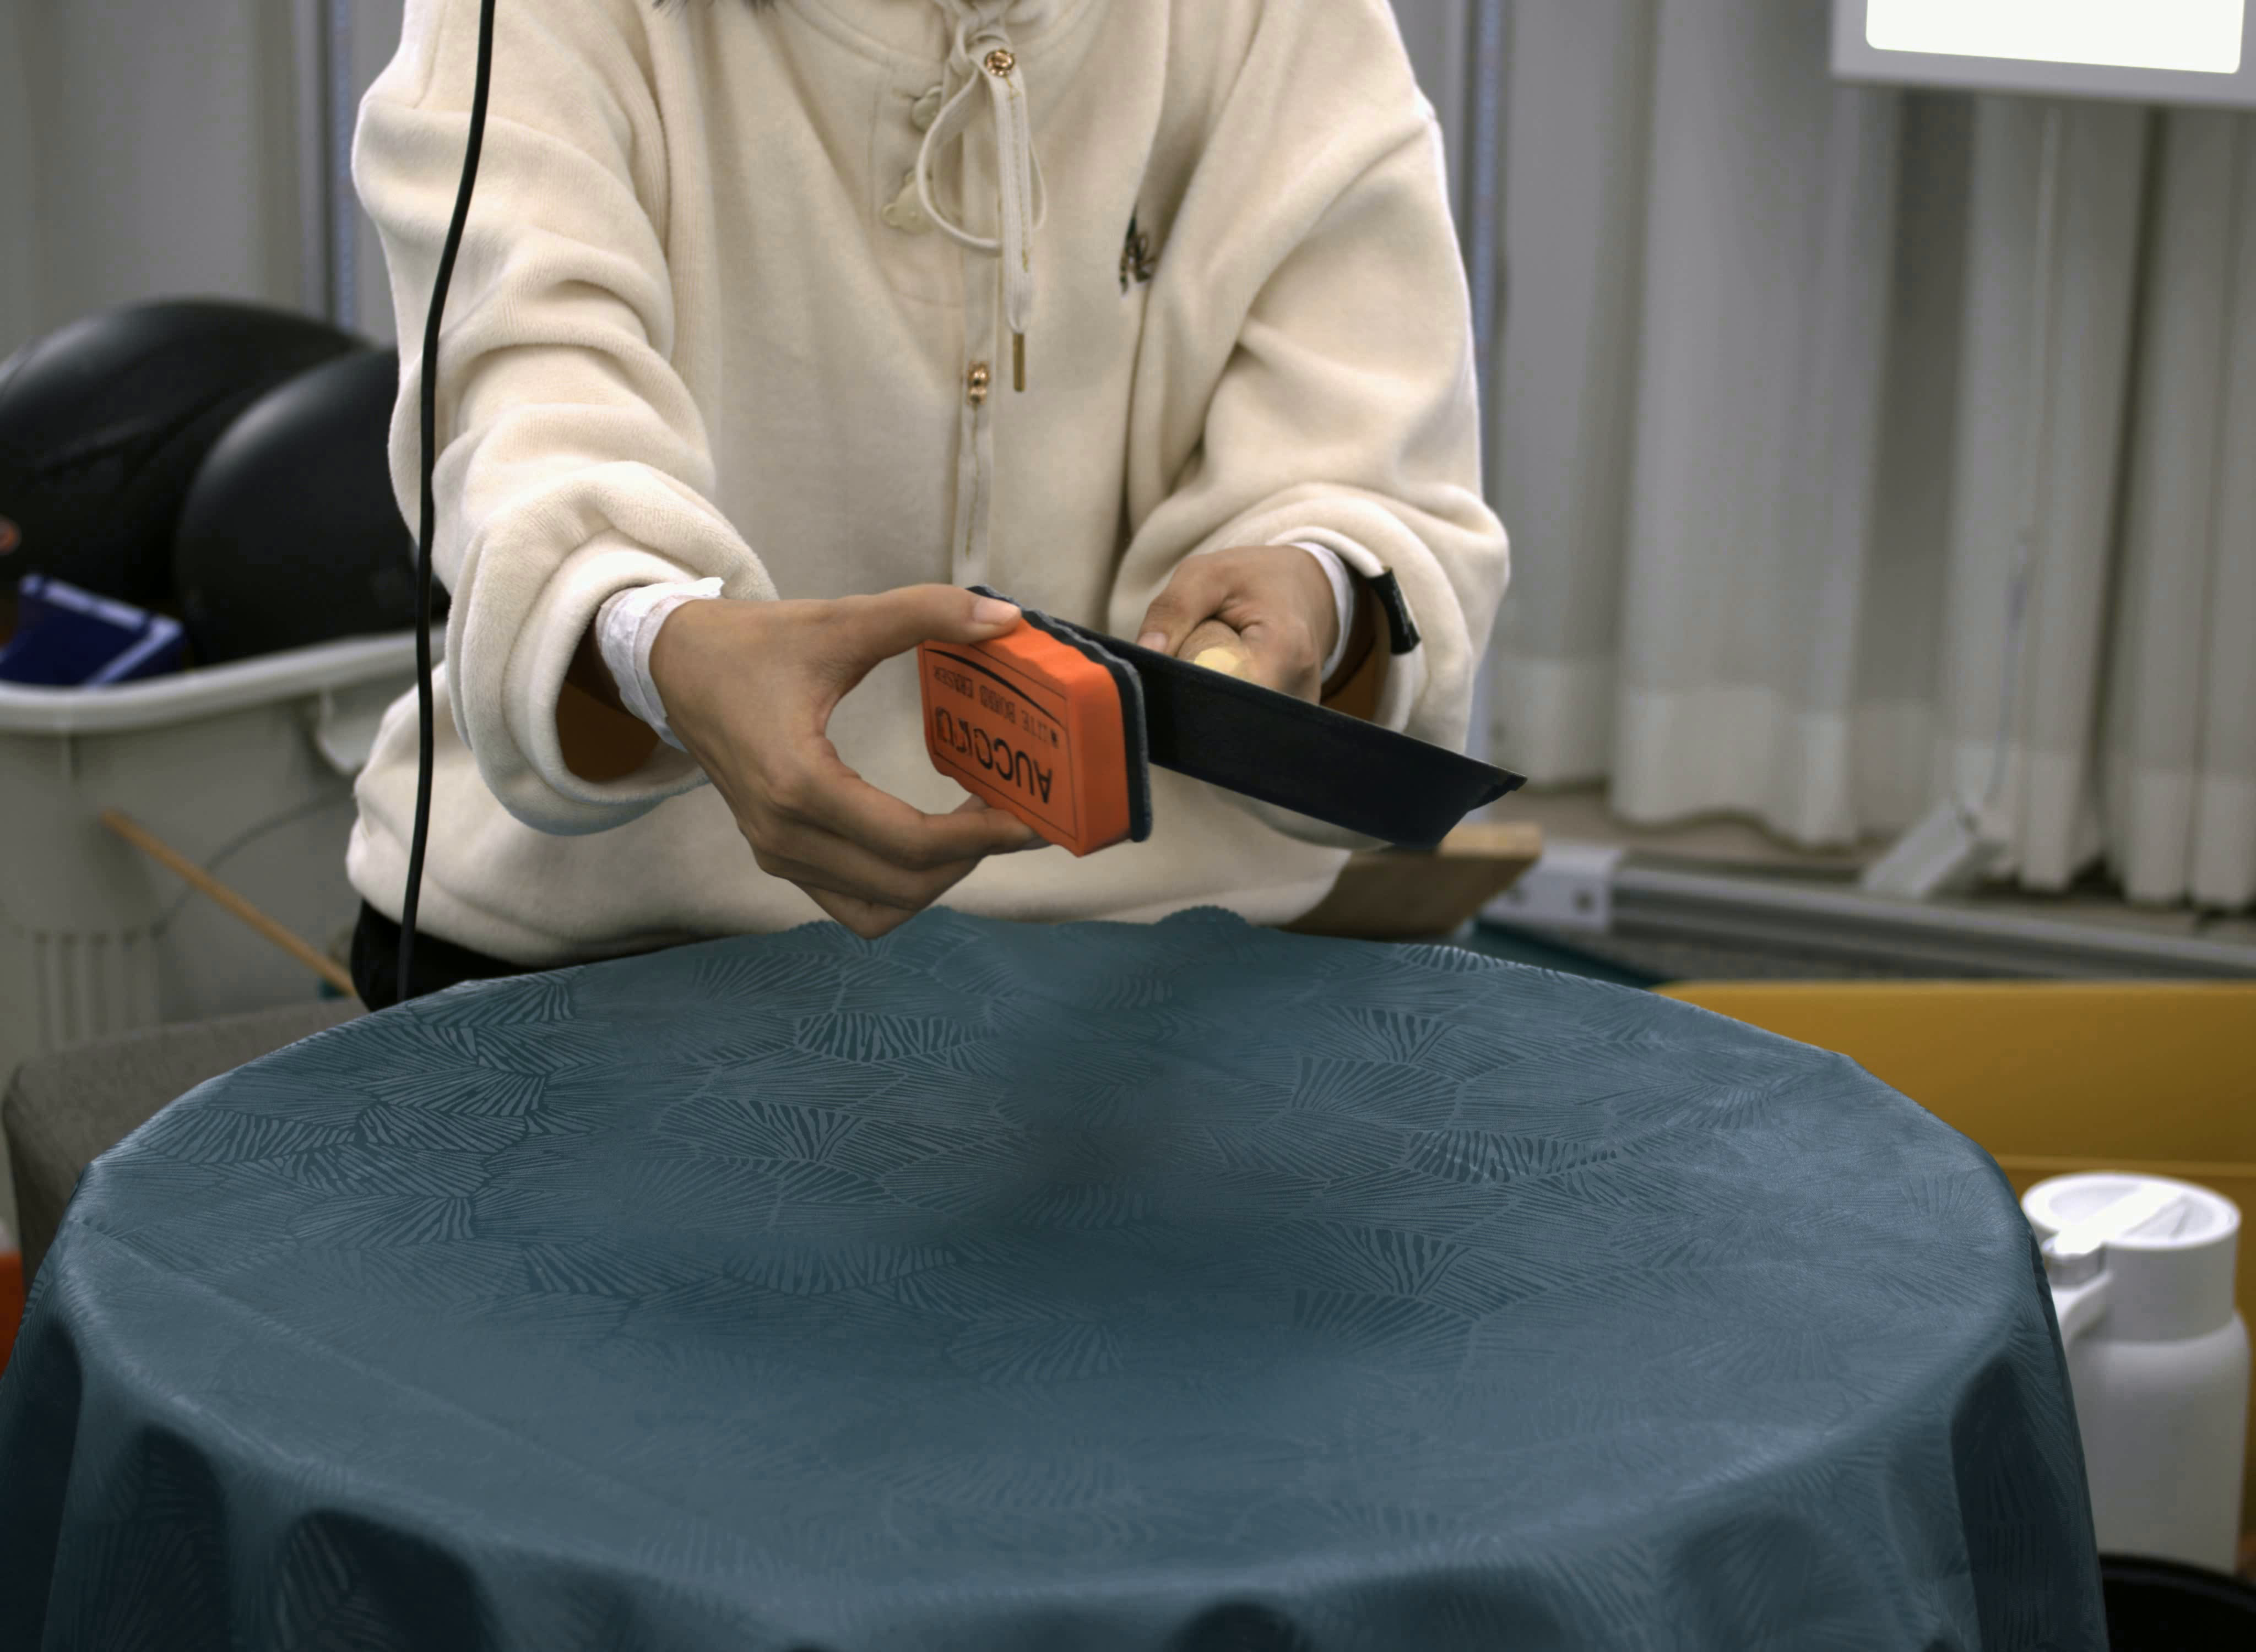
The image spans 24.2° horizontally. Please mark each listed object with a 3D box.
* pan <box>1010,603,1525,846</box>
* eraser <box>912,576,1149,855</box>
[{"bbox_3d":[0.034,-0.040,1.683,0.169,0.050,0.323,18,3,-4],"label":"pan"},{"bbox_3d":[-0.030,-0.033,1.560,0.023,0.059,0.106,-16,25,-24],"label":"eraser"}]
